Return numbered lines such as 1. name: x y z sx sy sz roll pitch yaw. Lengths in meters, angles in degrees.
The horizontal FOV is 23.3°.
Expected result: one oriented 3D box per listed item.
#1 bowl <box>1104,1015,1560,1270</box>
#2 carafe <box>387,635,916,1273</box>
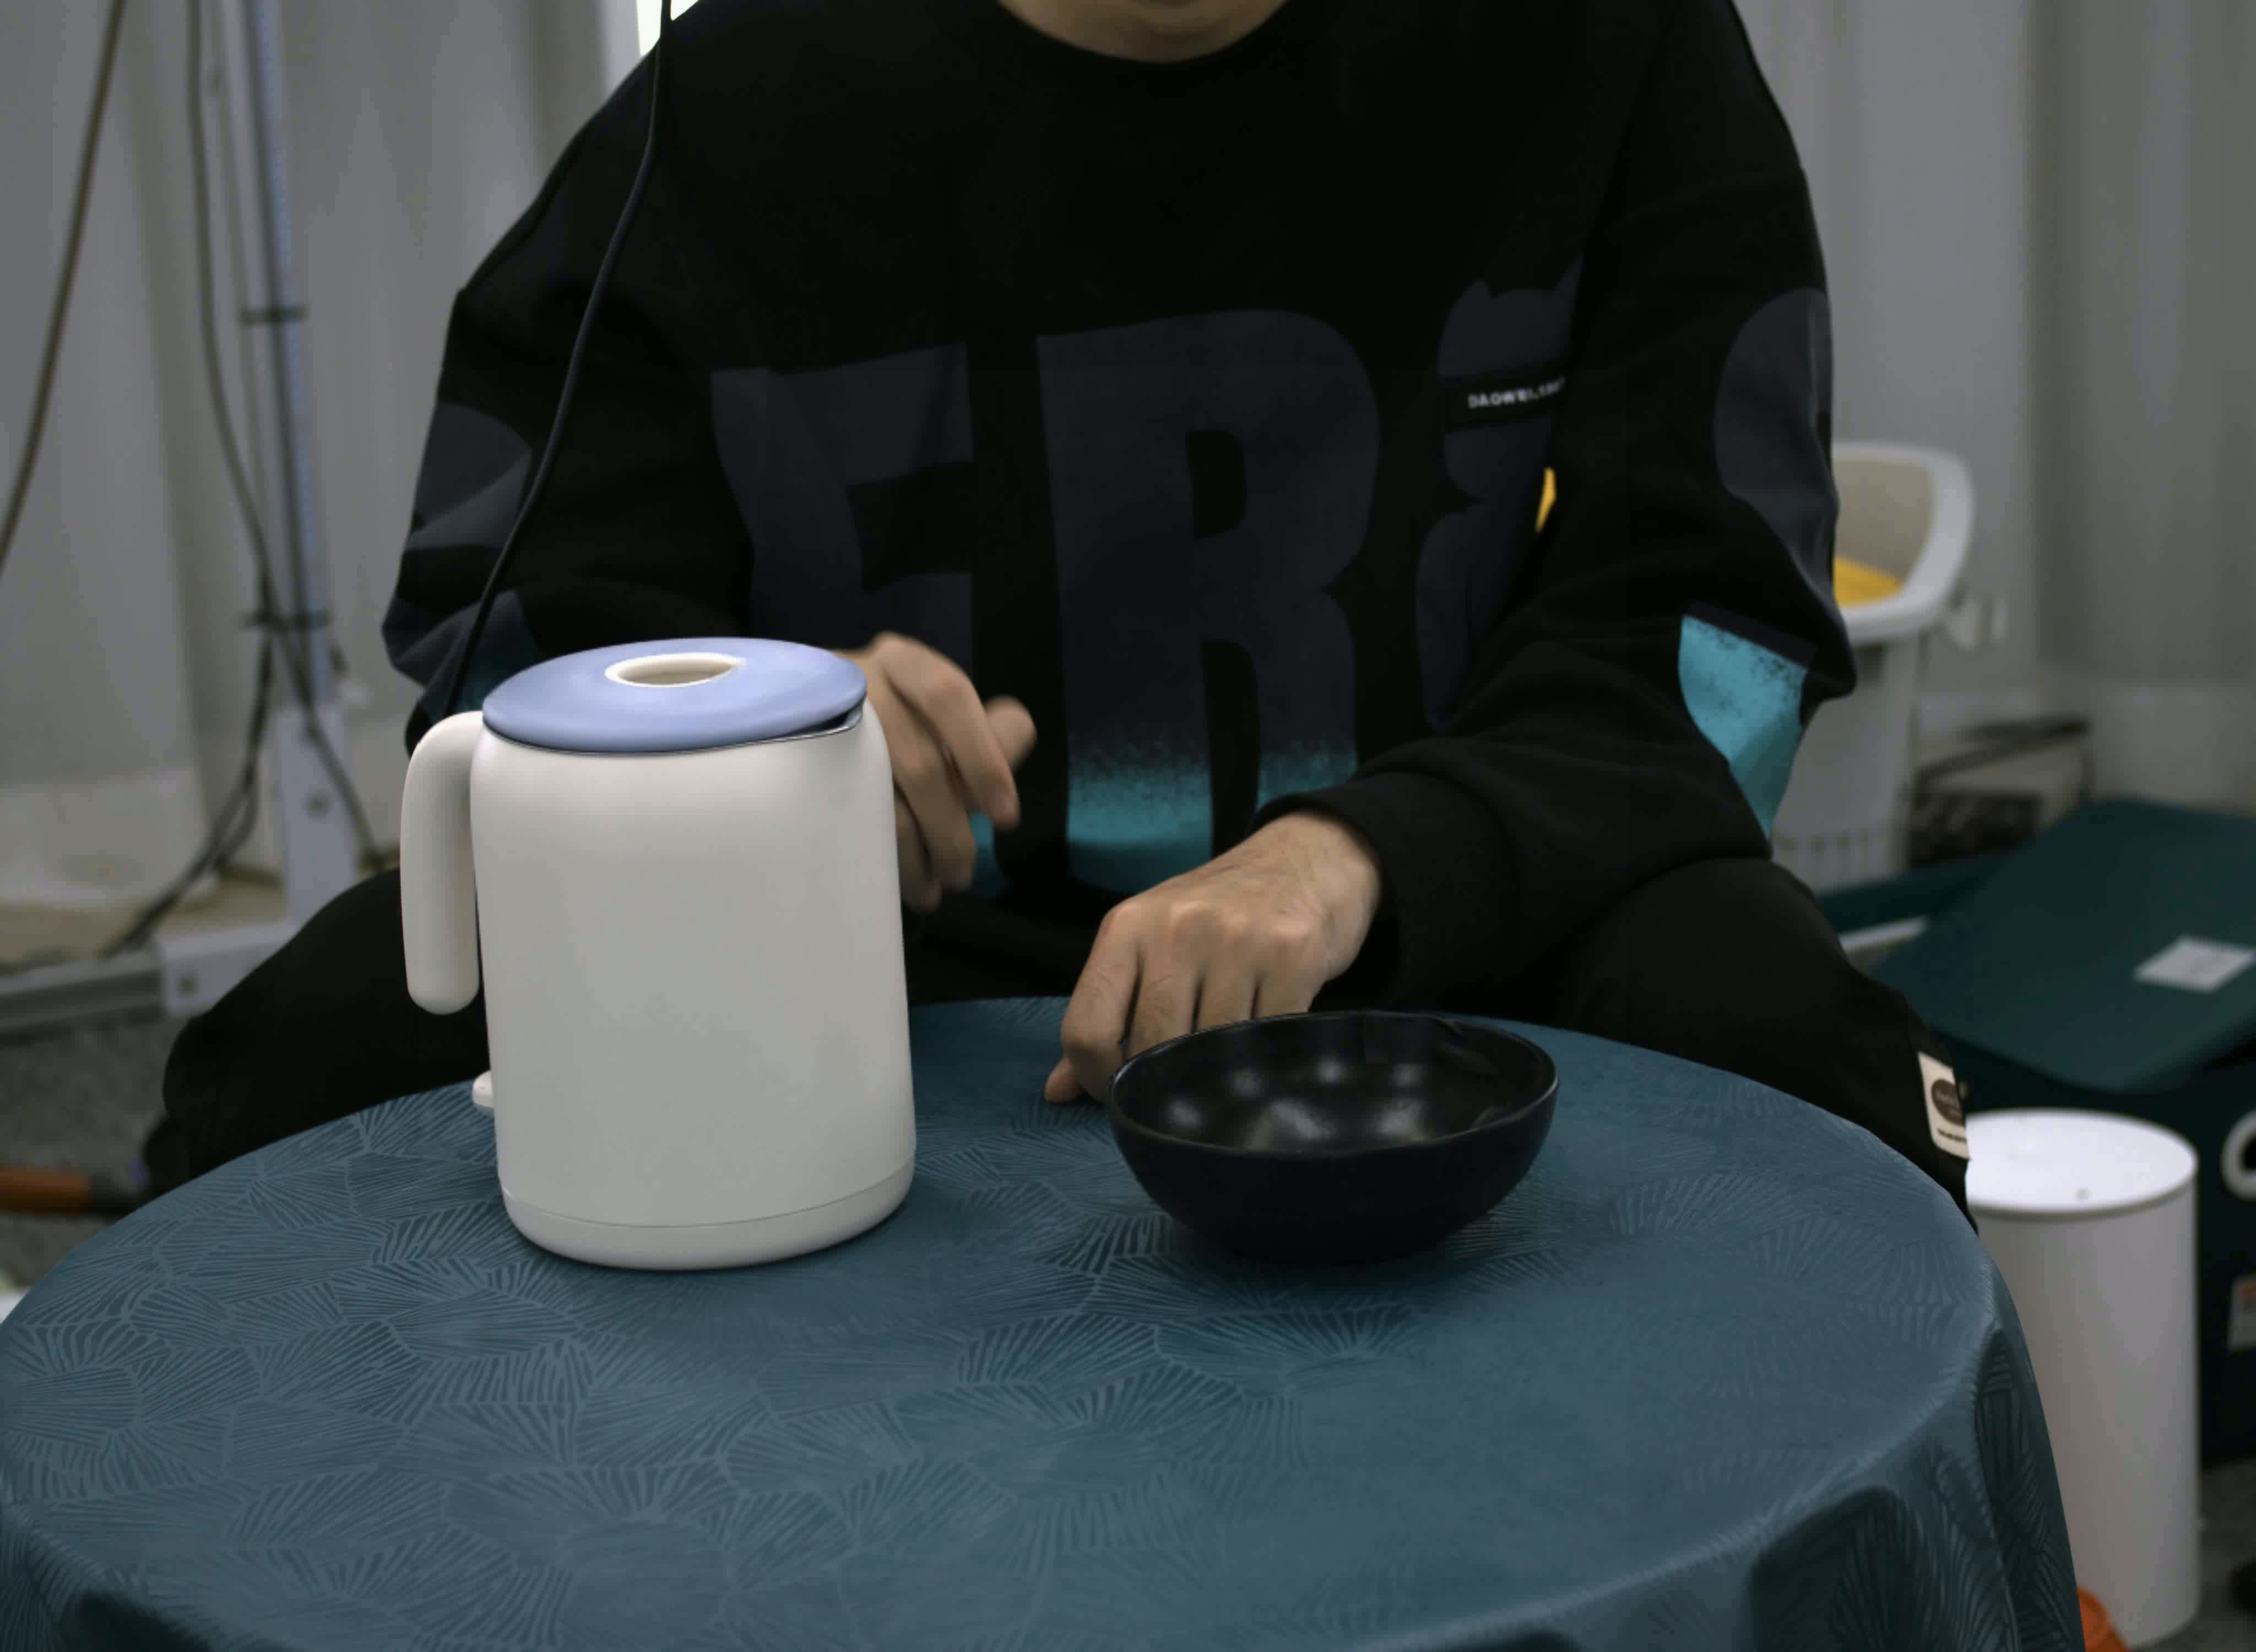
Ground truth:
1. bowl: 0.063 0.100 1.661 0.139 0.049 0.141 -4 14 1
2. carafe: -0.155 0.037 1.710 0.191 0.182 0.132 4 14 34
